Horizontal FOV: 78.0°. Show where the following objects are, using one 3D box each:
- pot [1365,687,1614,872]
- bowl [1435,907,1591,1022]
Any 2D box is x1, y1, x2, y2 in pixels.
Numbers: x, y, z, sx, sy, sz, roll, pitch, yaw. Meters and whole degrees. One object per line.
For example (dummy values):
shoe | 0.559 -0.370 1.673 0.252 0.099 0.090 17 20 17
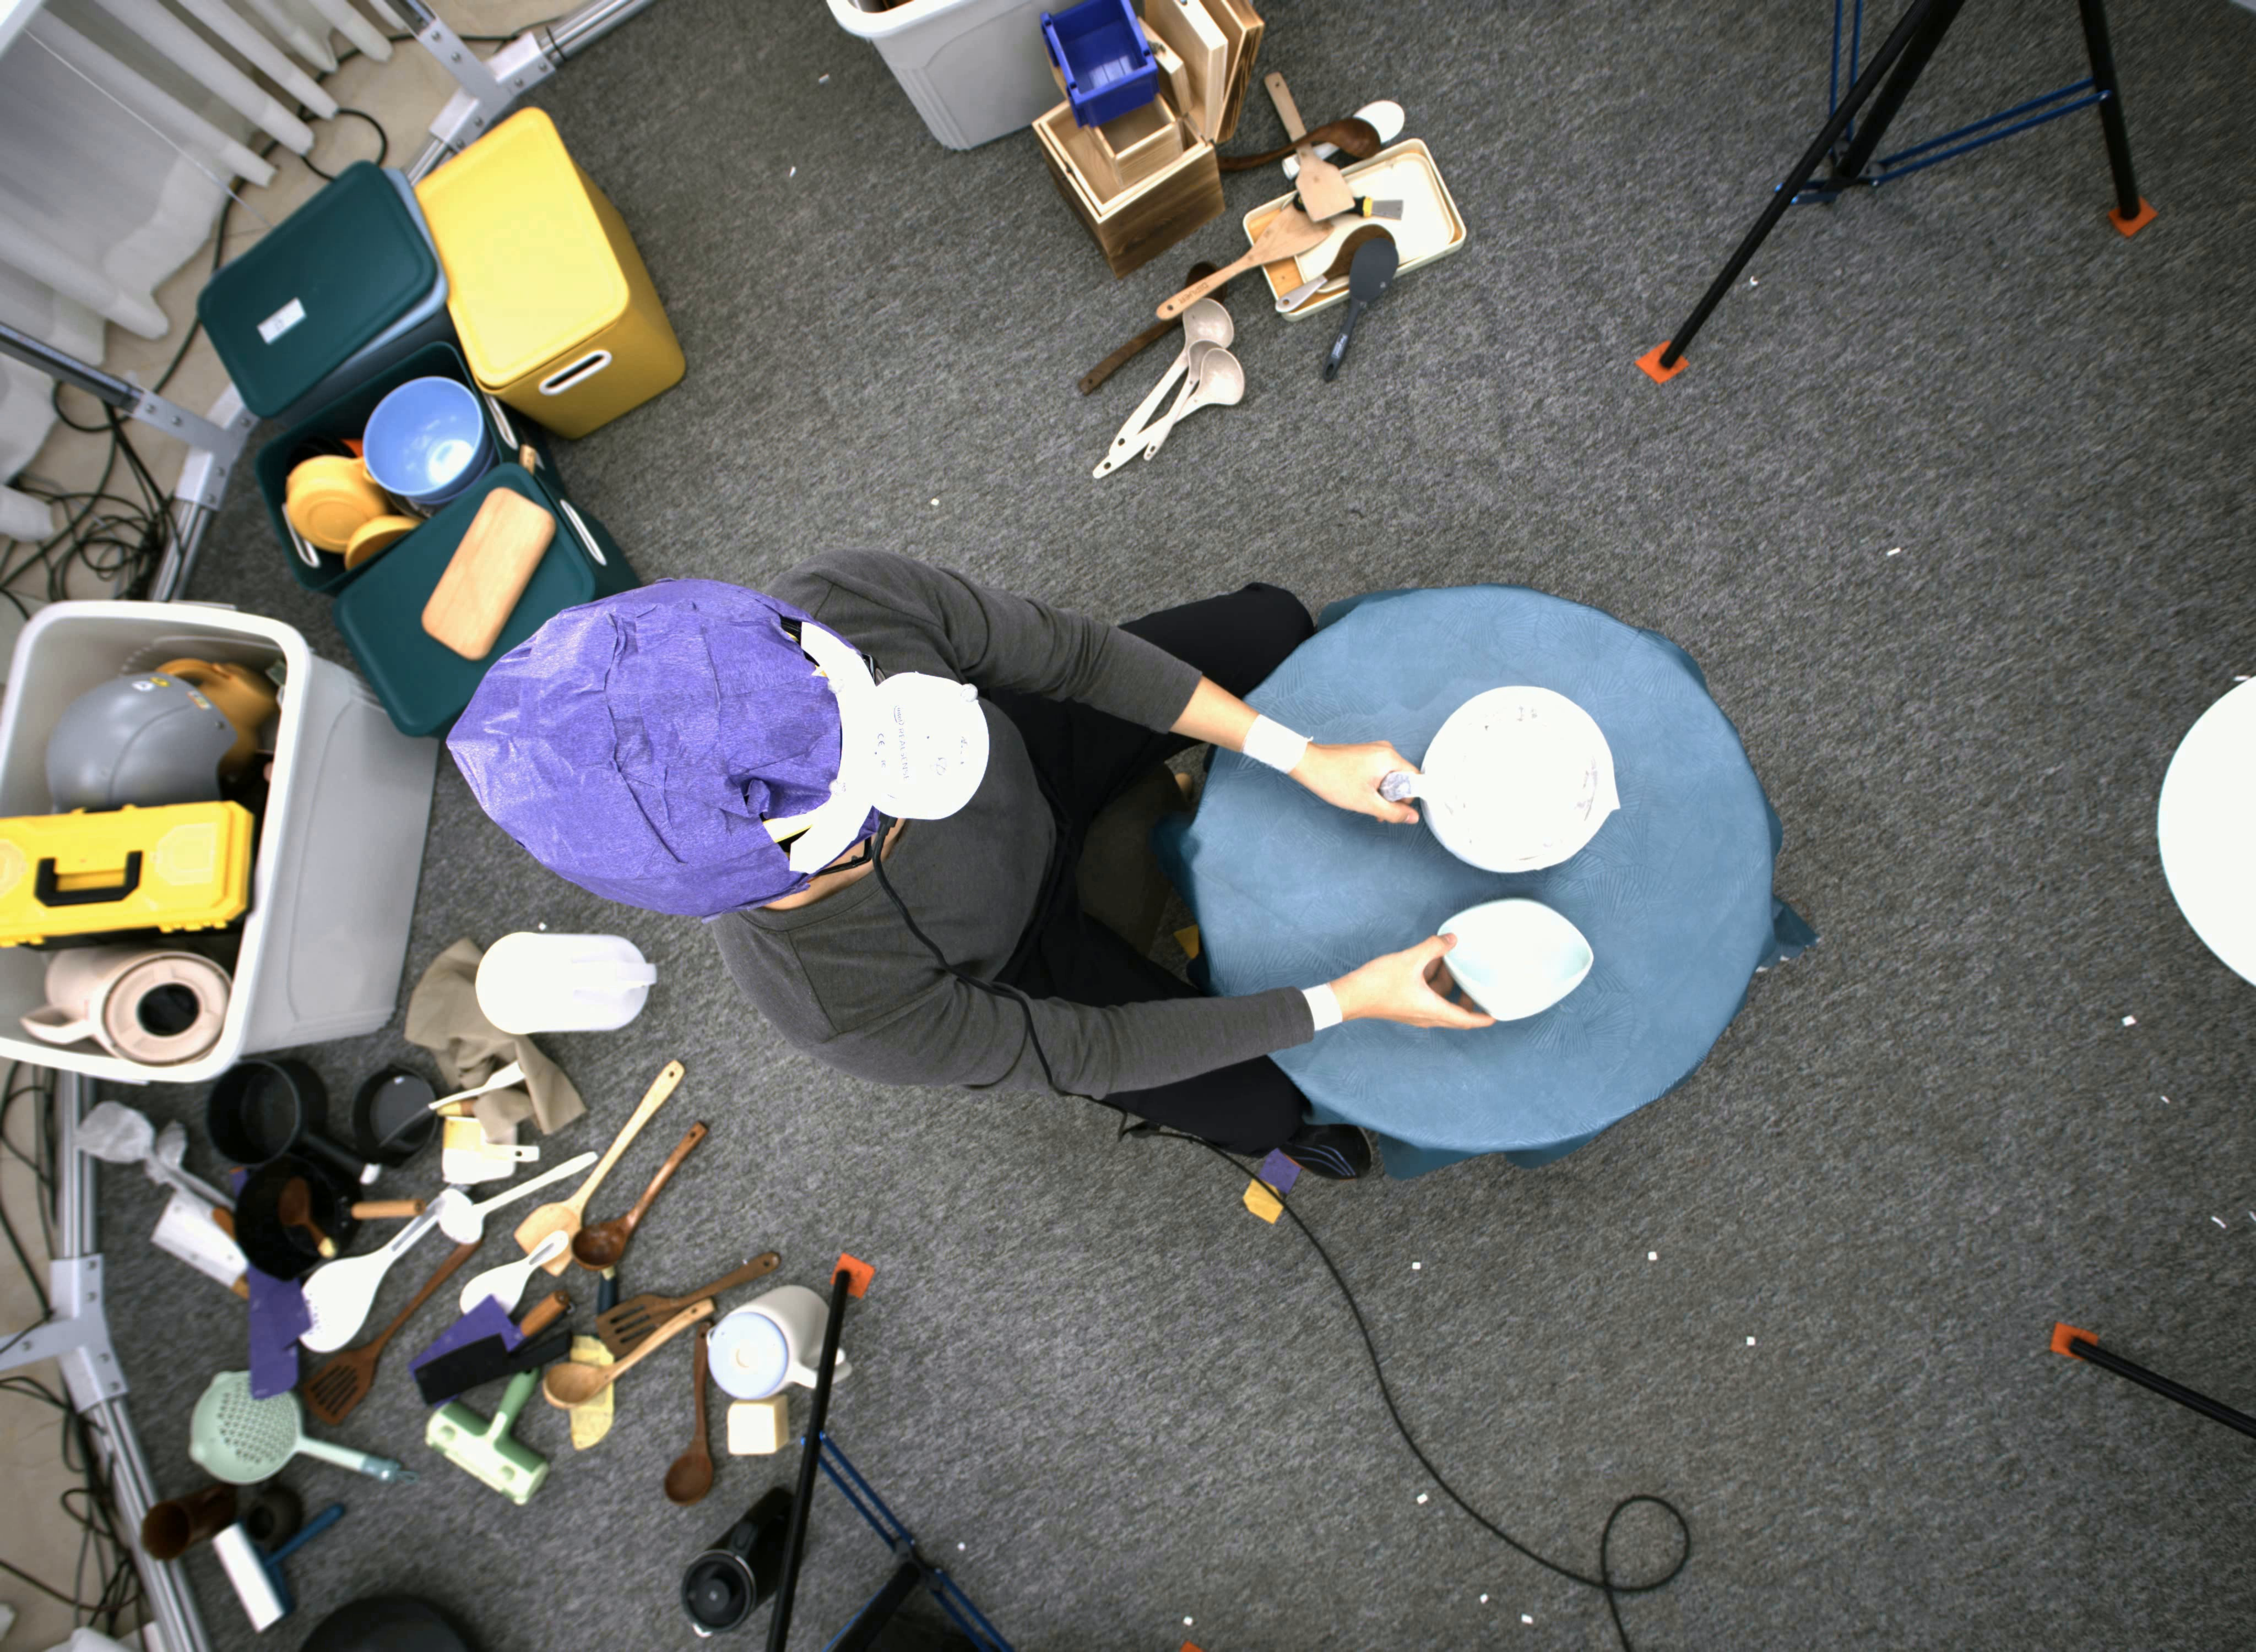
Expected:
pot | 0.356 -0.043 1.378 0.235 0.136 0.178 -3 88 10
bowl | 0.382 0.143 1.375 0.152 0.147 0.060 0 121 10
